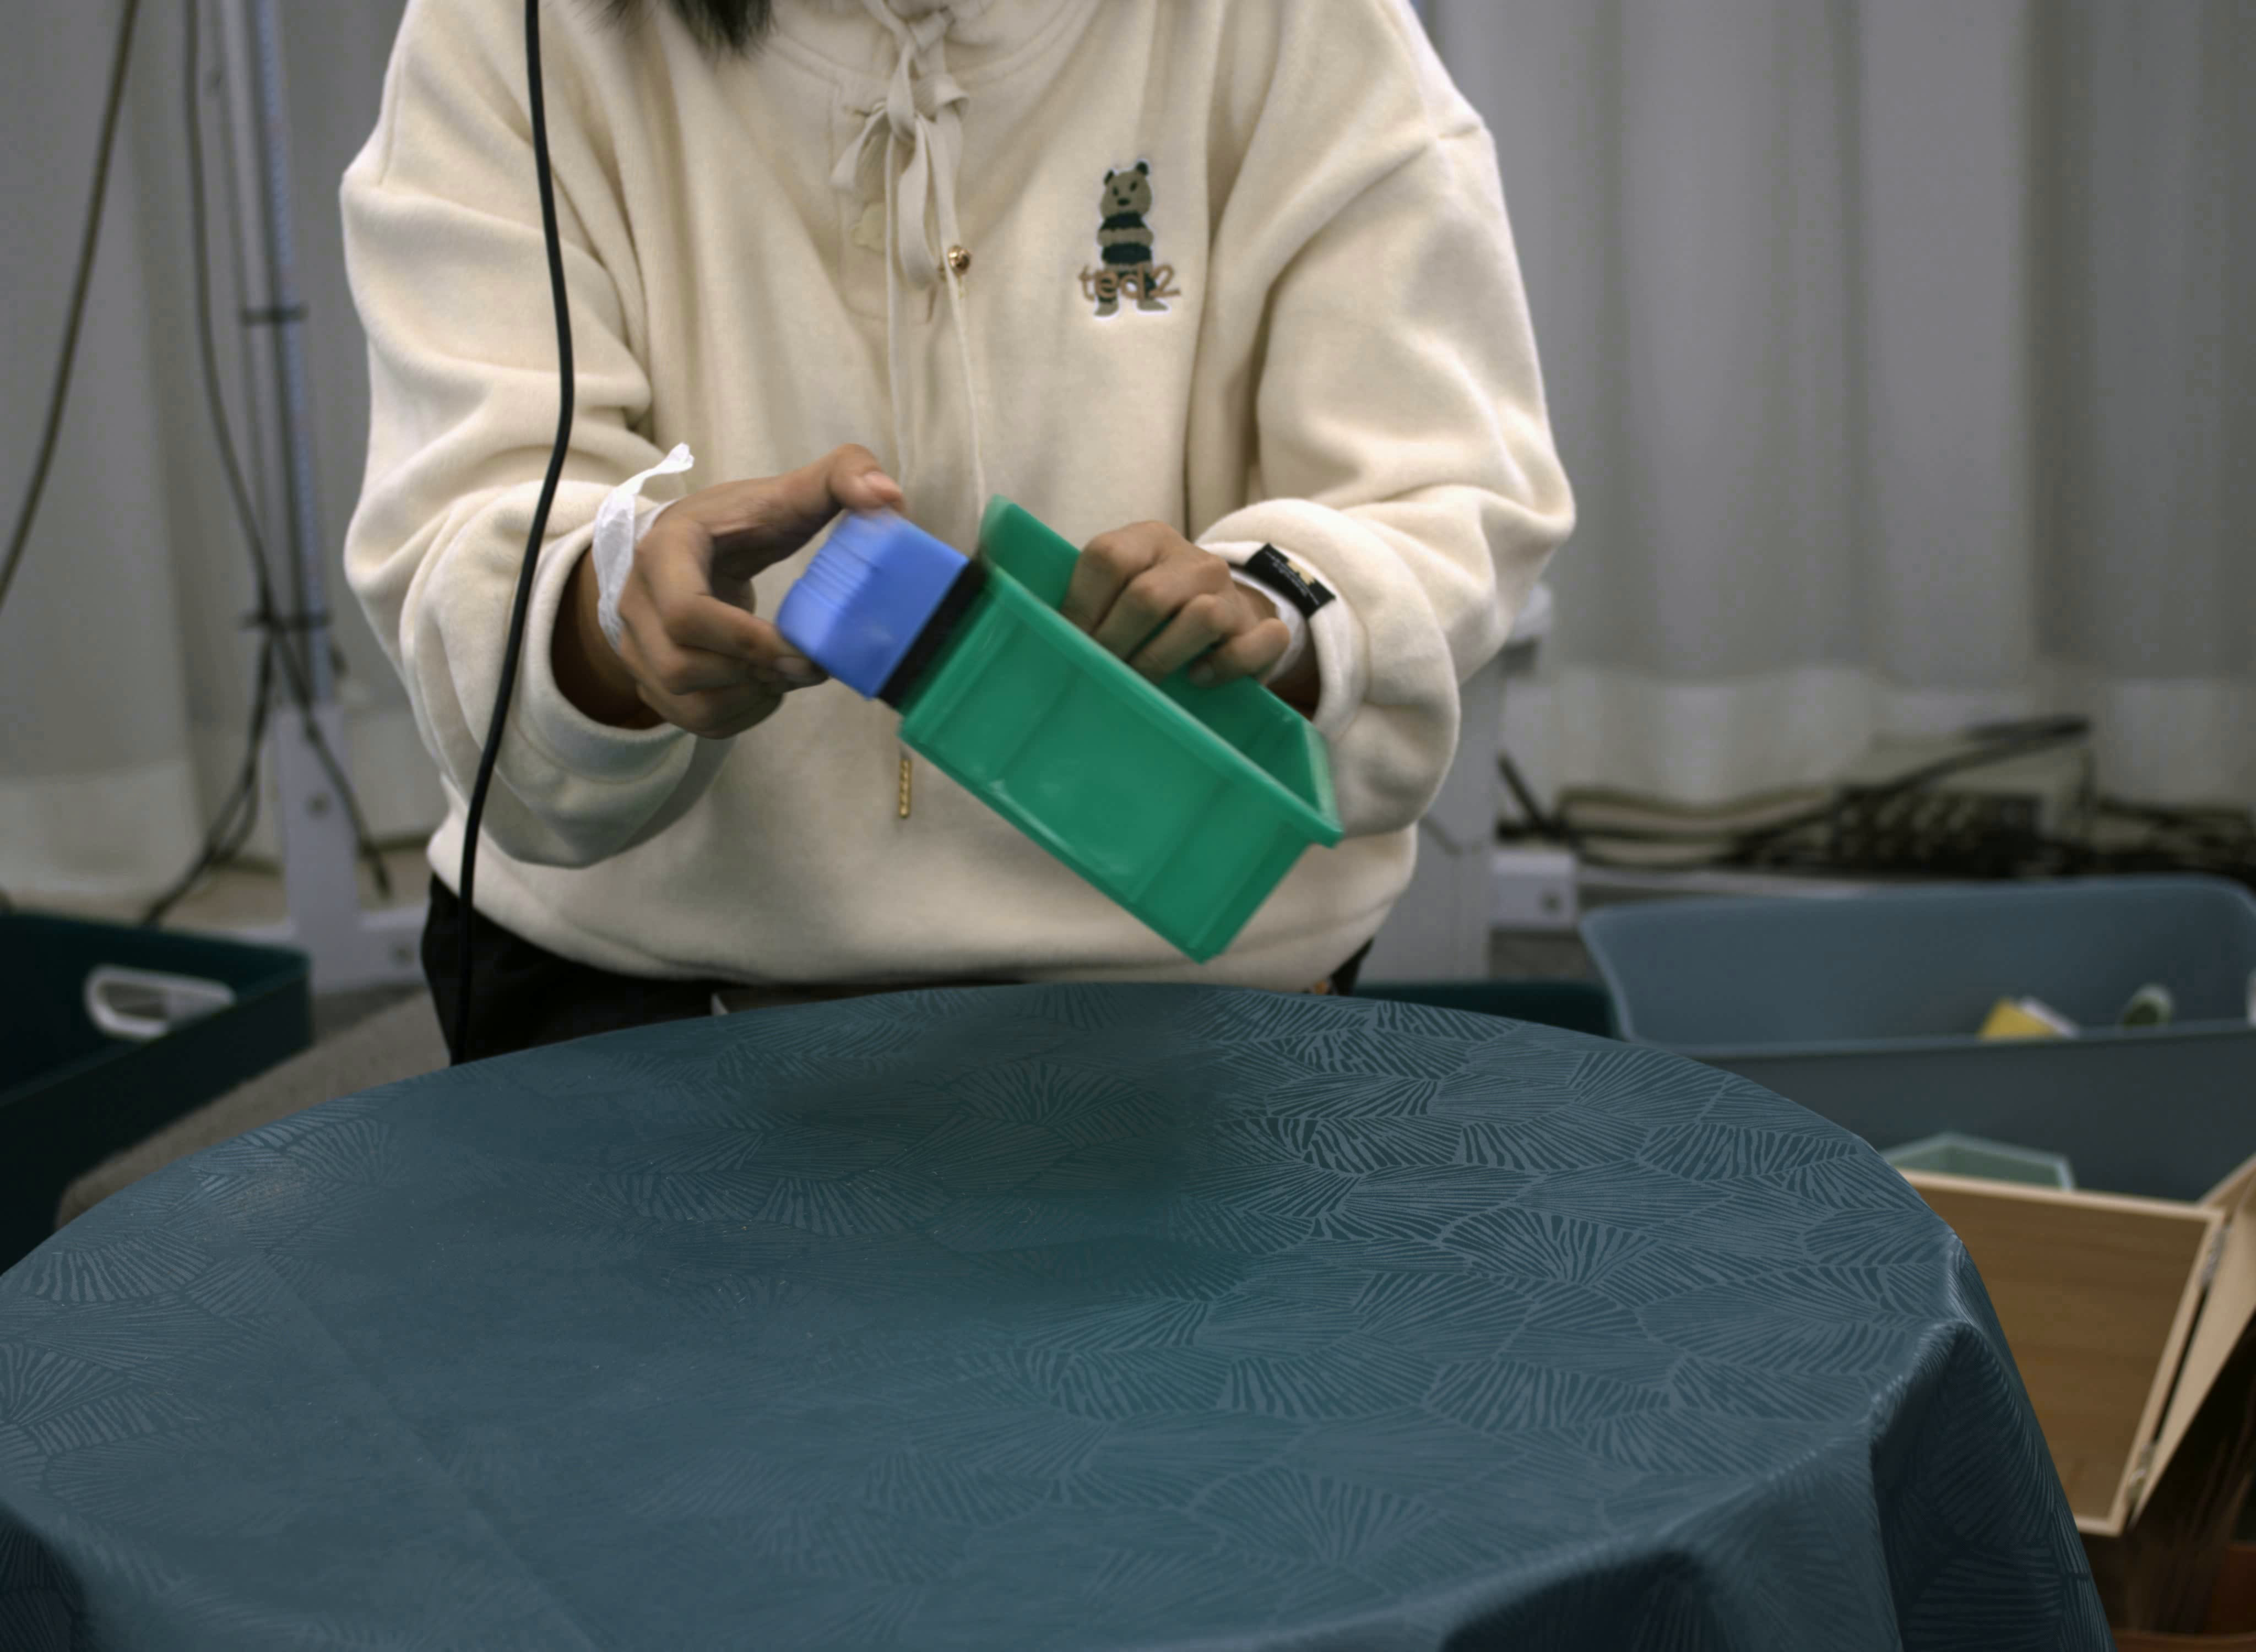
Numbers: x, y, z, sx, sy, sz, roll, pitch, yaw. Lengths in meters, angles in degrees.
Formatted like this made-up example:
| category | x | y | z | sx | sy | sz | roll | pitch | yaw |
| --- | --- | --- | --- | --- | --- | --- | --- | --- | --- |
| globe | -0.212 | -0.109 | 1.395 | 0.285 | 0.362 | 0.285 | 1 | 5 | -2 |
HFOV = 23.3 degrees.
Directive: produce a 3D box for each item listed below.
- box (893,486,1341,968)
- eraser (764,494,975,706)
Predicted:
| category | x | y | z | sx | sy | sz | roll | pitch | yaw |
| --- | --- | --- | --- | --- | --- | --- | --- | --- | --- |
| box | -0.007 | -0.031 | 1.747 | 0.138 | 0.065 | 0.211 | 36 | 10 | -7 |
| eraser | -0.084 | -0.072 | 1.730 | 0.047 | 0.054 | 0.162 | 35 | 0 | -6 |
